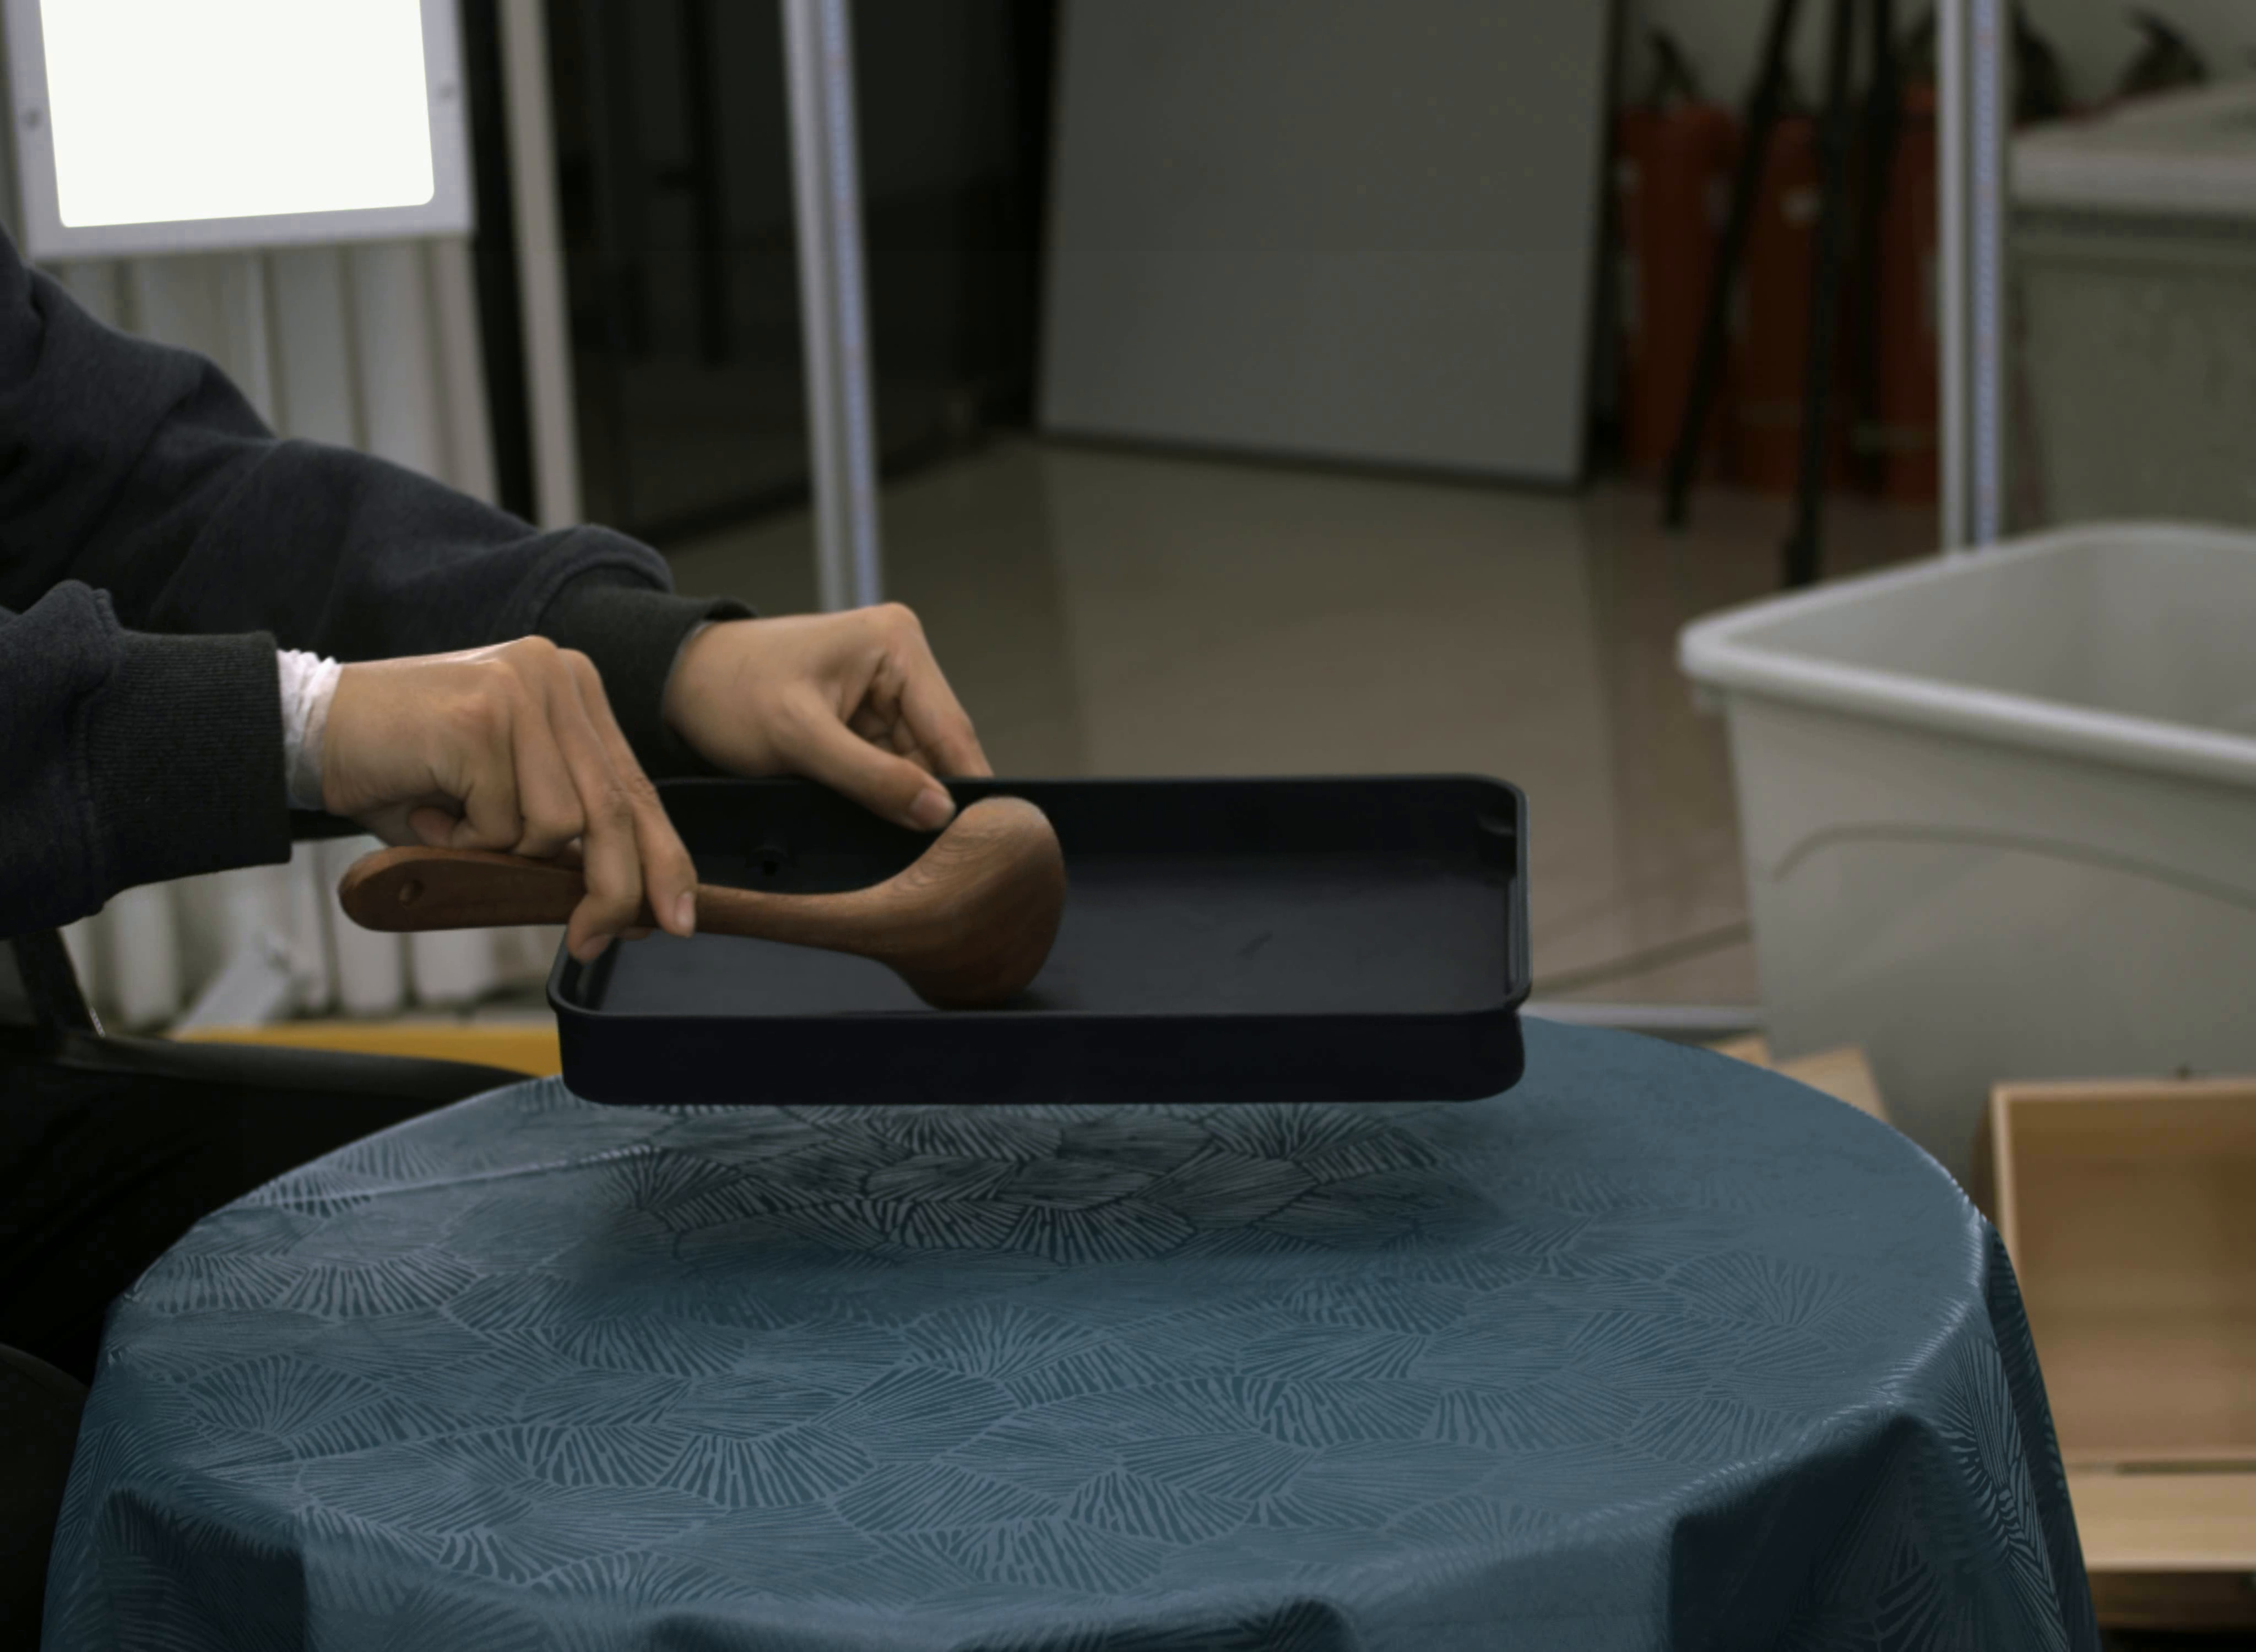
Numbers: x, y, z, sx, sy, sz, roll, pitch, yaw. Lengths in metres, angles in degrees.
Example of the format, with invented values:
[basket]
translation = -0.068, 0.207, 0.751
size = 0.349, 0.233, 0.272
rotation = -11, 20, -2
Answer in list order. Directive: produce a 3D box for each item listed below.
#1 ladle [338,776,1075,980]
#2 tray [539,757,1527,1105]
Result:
[ladle]
translation = -0.131, 0.017, 1.707
size = 0.254, 0.077, 0.066
rotation = 4, 13, -24
[tray]
translation = -0.026, 0.033, 1.777
size = 0.314, 0.037, 0.184
rotation = 1, 25, 5
